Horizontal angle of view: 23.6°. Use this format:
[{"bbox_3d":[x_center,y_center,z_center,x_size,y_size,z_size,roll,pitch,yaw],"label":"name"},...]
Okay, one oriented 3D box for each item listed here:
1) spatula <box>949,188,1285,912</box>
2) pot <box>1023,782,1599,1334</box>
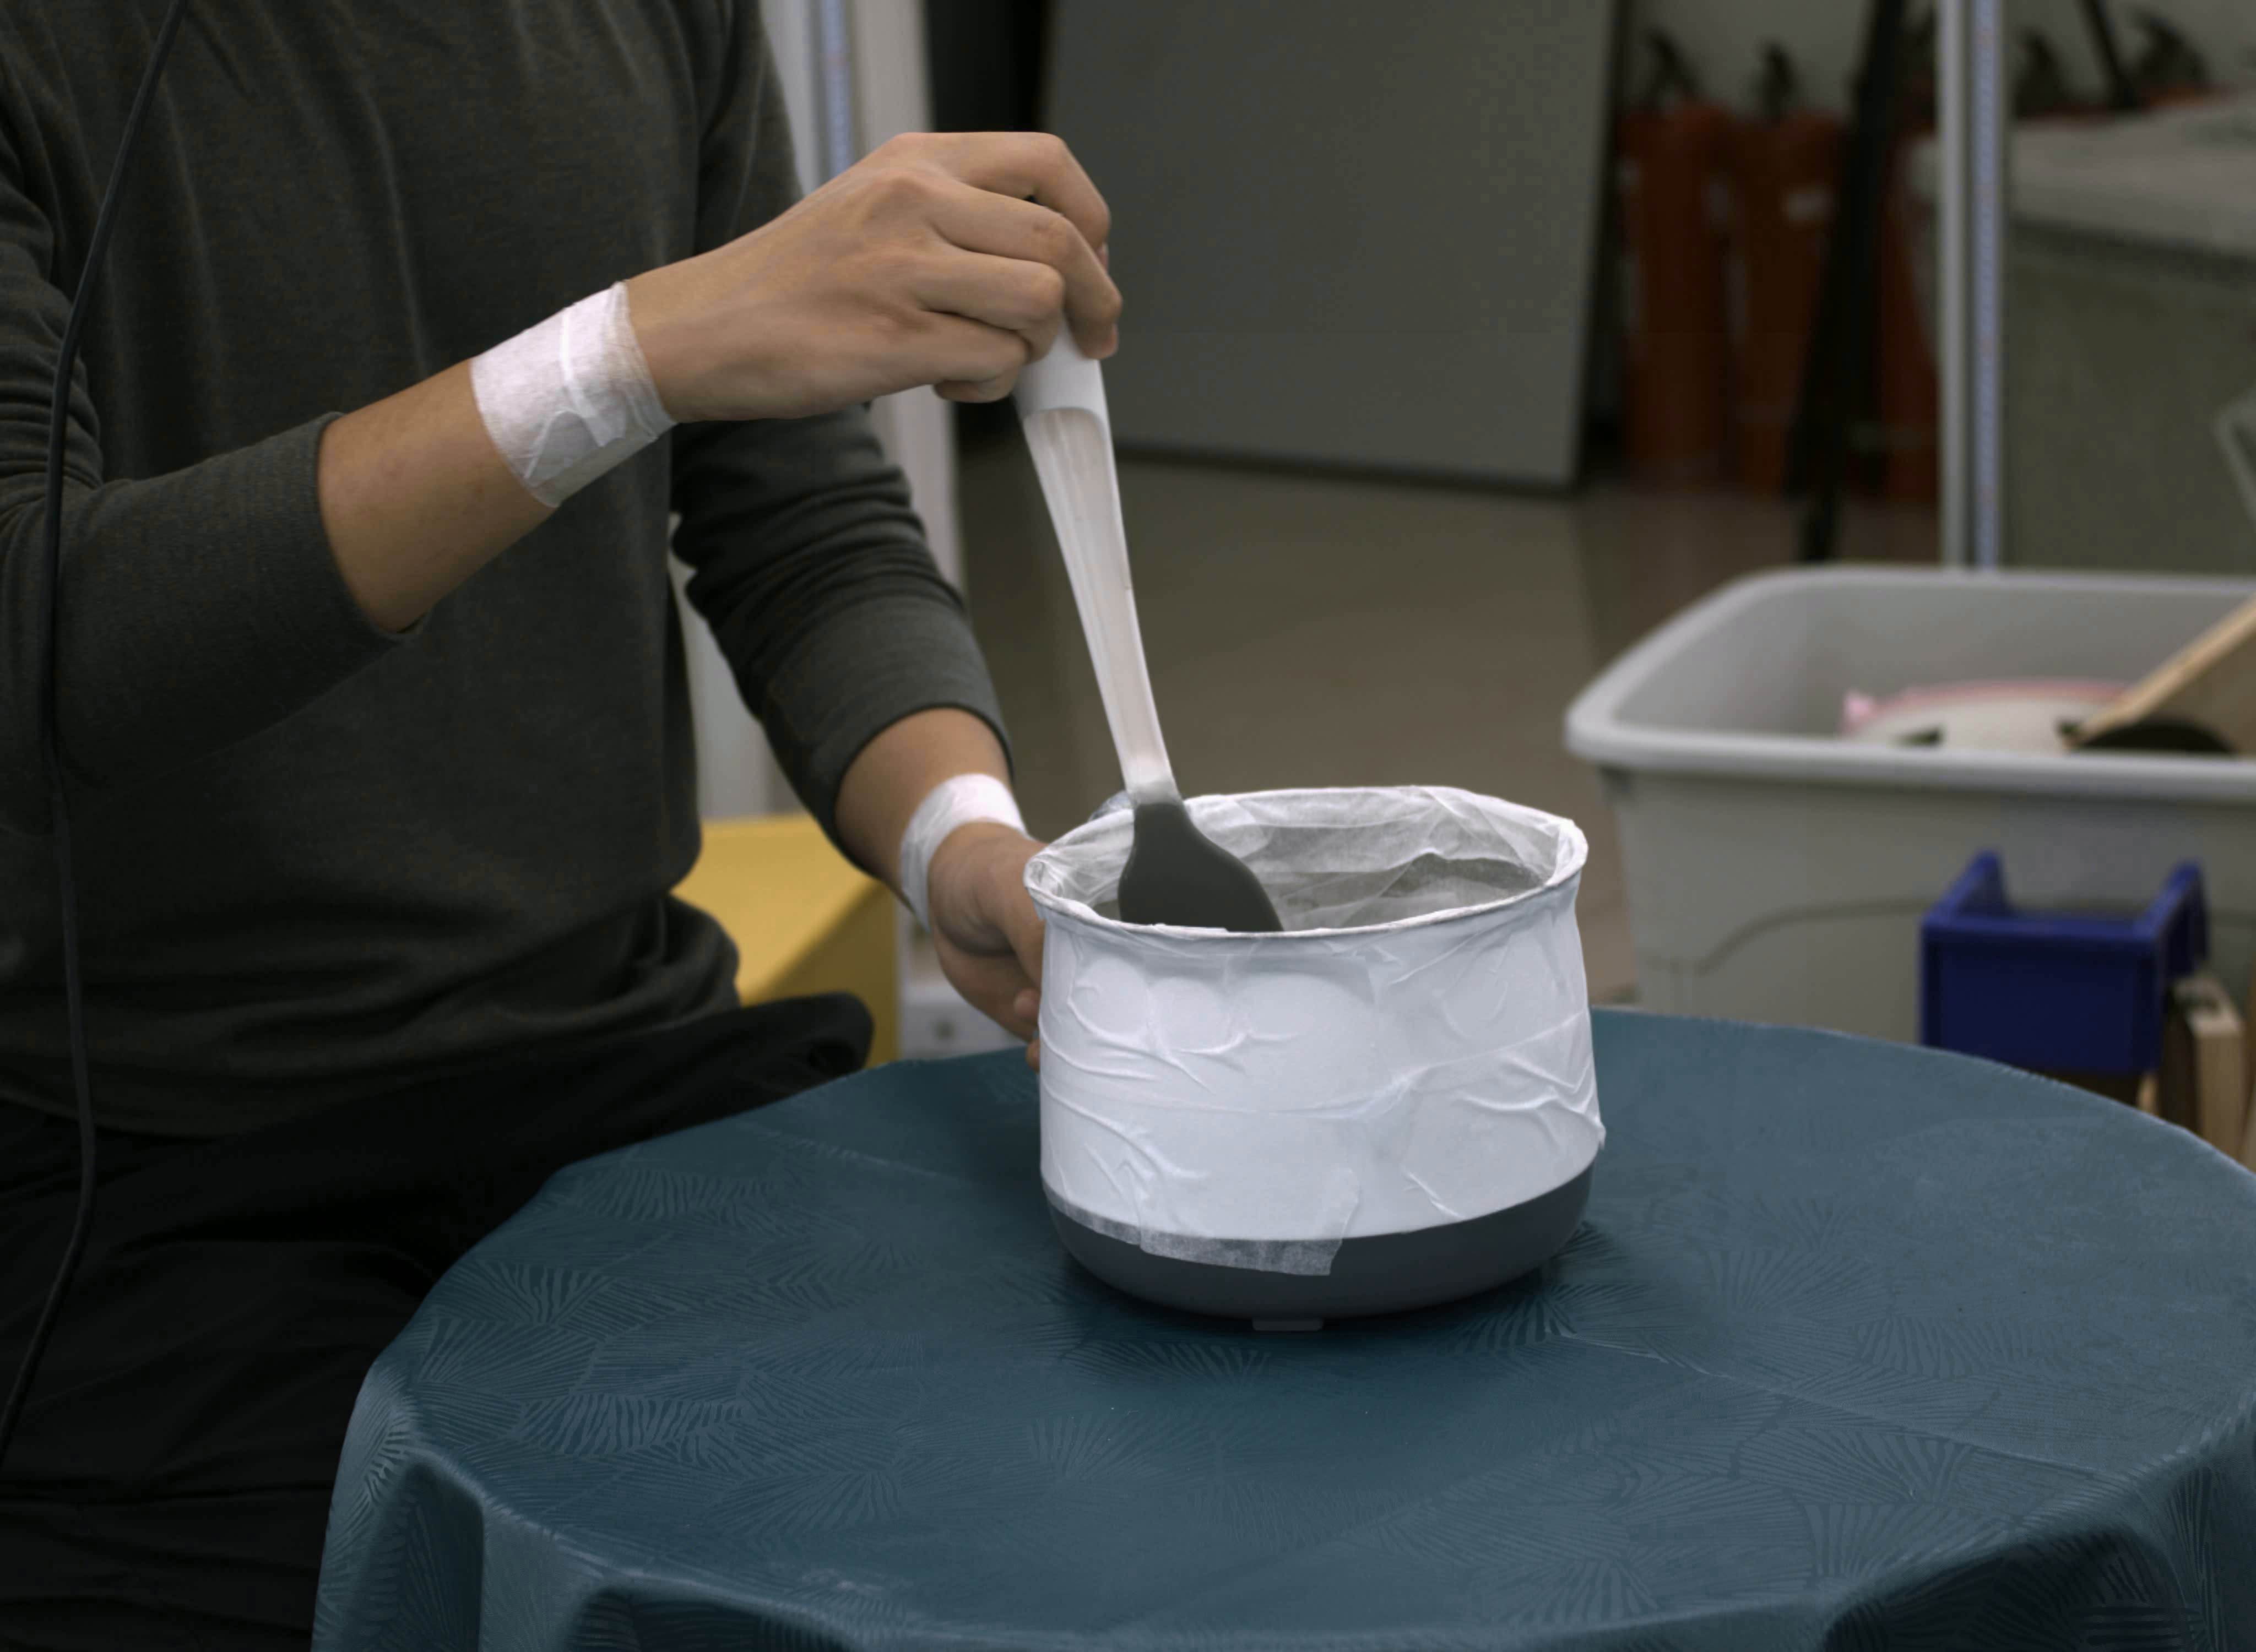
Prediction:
[{"bbox_3d":[0.000,-0.055,1.666,0.058,0.289,0.032,-11,21,17],"label":"spatula"},{"bbox_3d":[0.043,0.066,1.701,0.175,0.138,0.236,-12,15,-32],"label":"pot"}]
